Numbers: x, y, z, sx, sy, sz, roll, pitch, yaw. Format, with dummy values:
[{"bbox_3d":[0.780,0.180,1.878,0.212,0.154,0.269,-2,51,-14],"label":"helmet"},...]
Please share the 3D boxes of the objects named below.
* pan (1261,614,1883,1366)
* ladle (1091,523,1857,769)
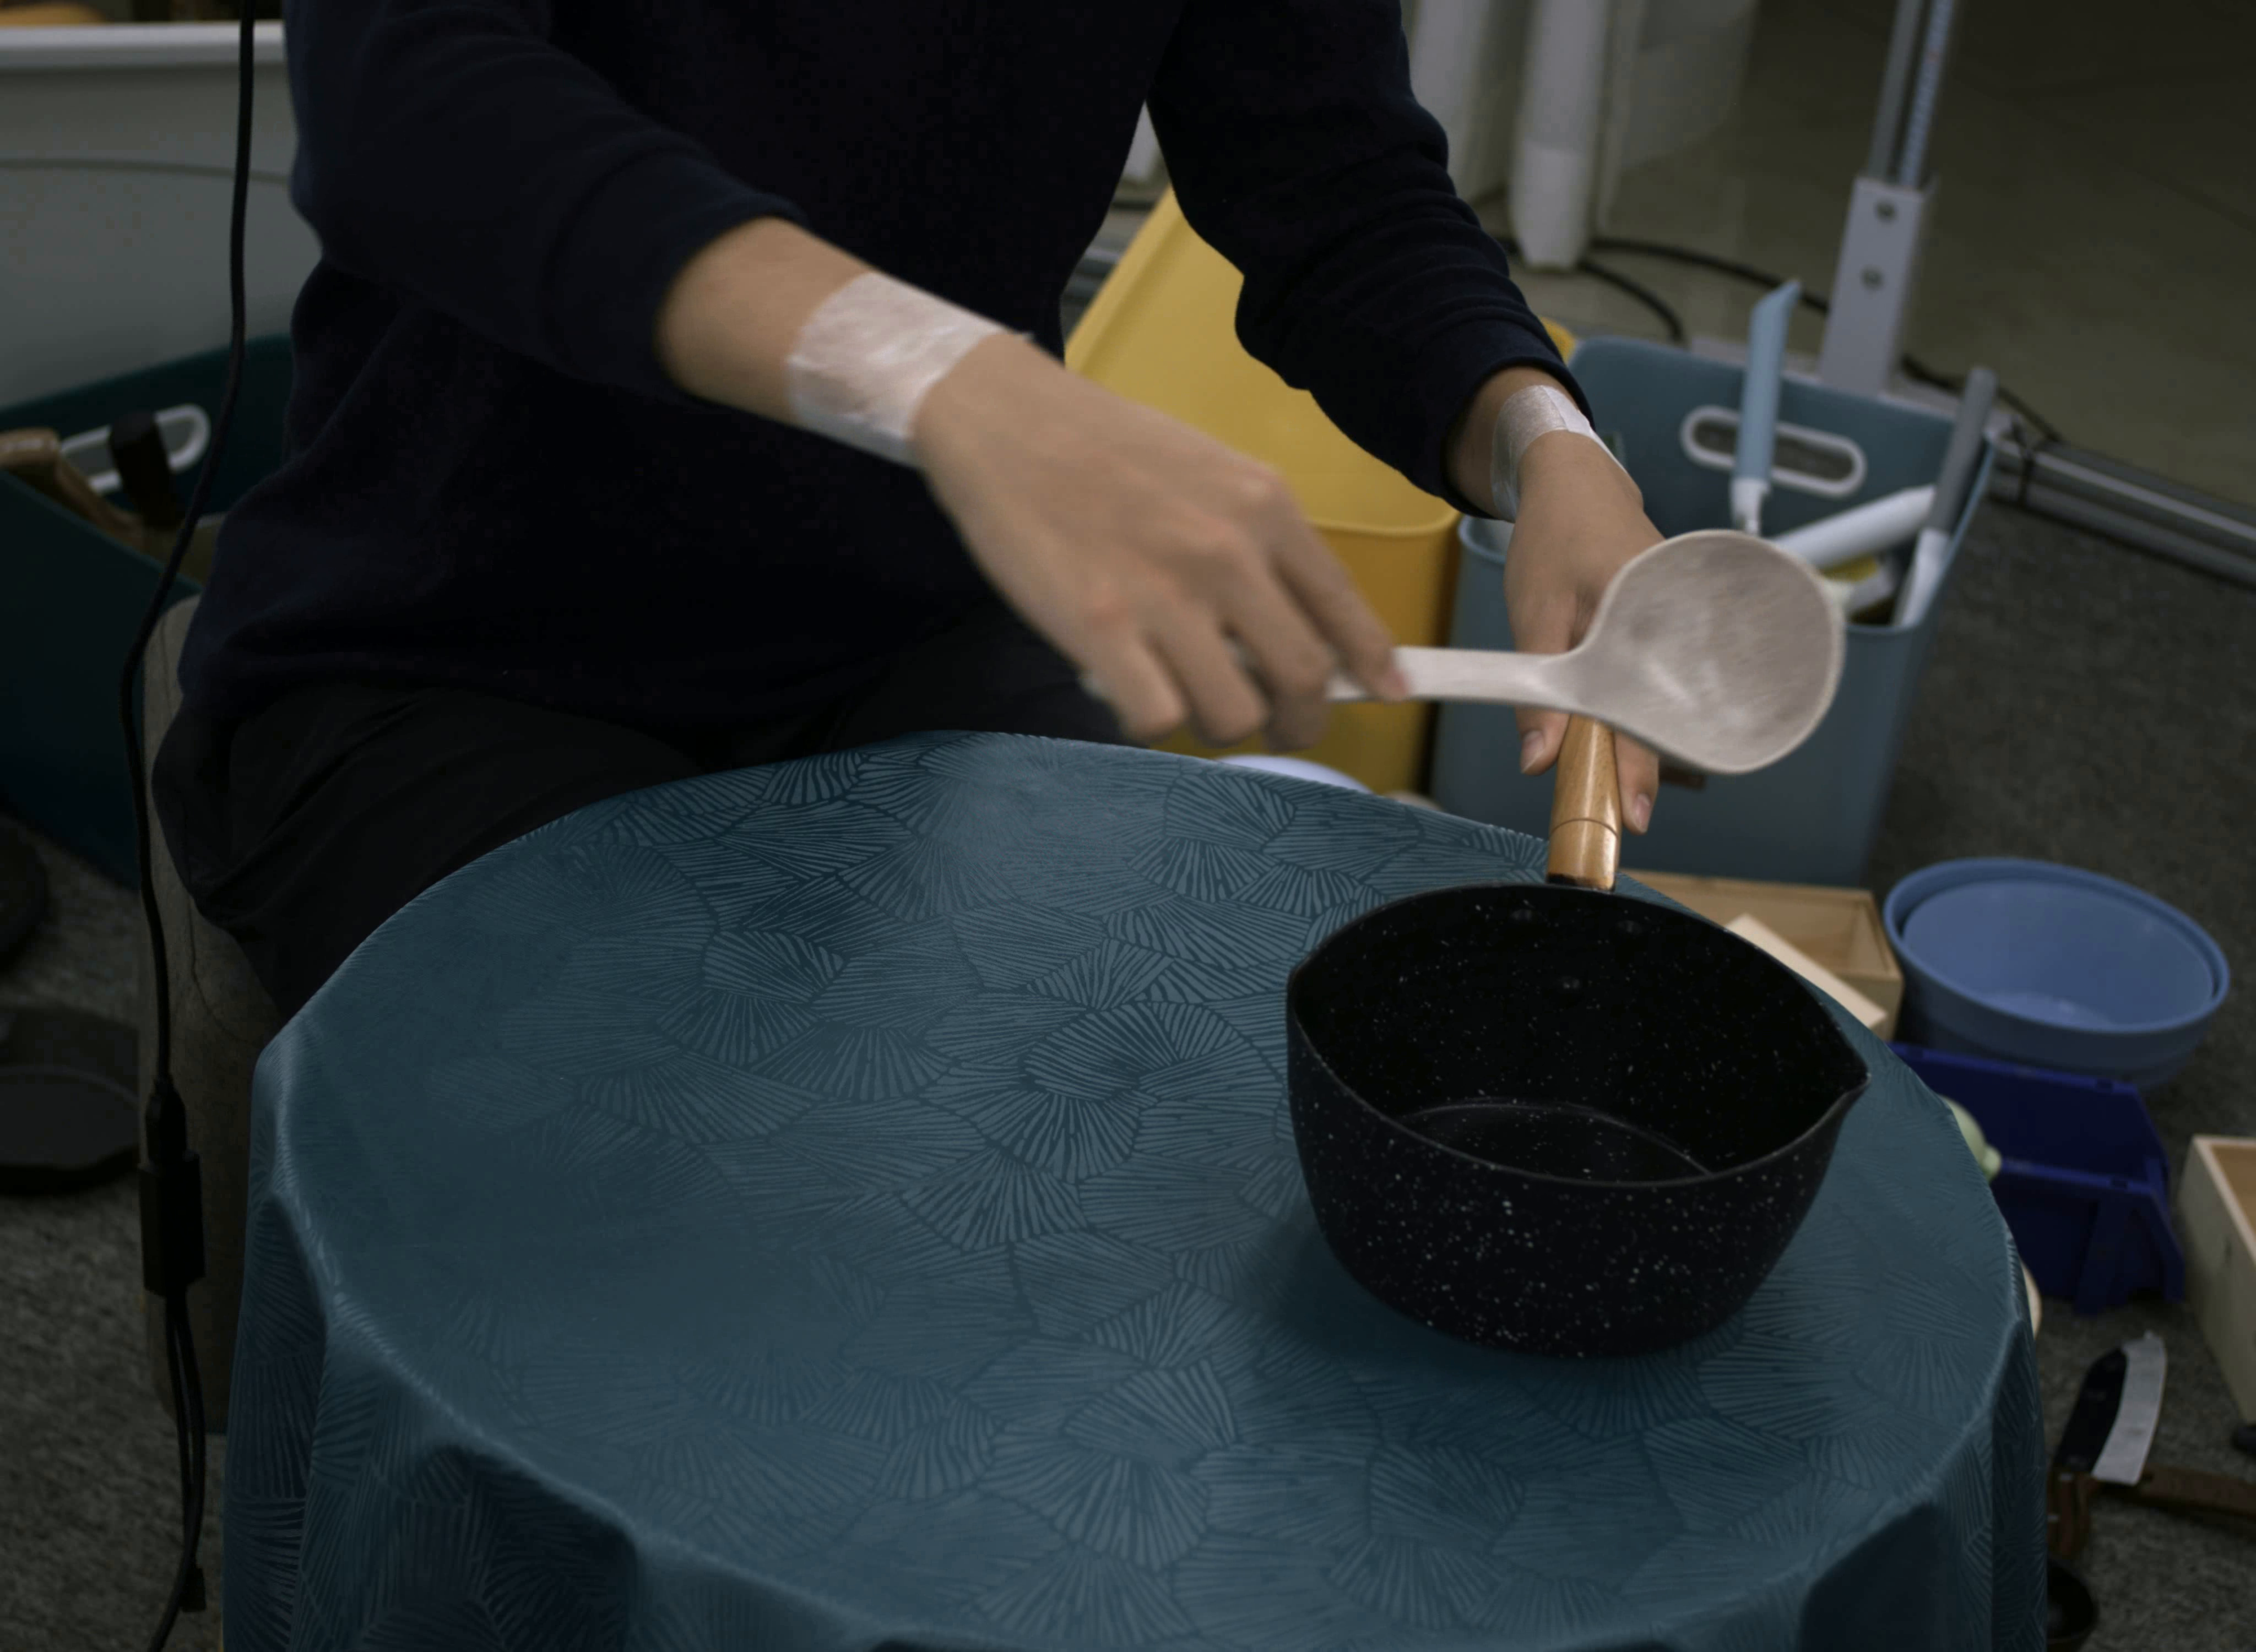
[{"bbox_3d":[0.151,0.052,1.840,0.207,0.108,0.345,6,31,3],"label":"pan"},{"bbox_3d":[0.112,-0.061,1.654,0.272,0.069,0.090,2,56,-40],"label":"ladle"}]
